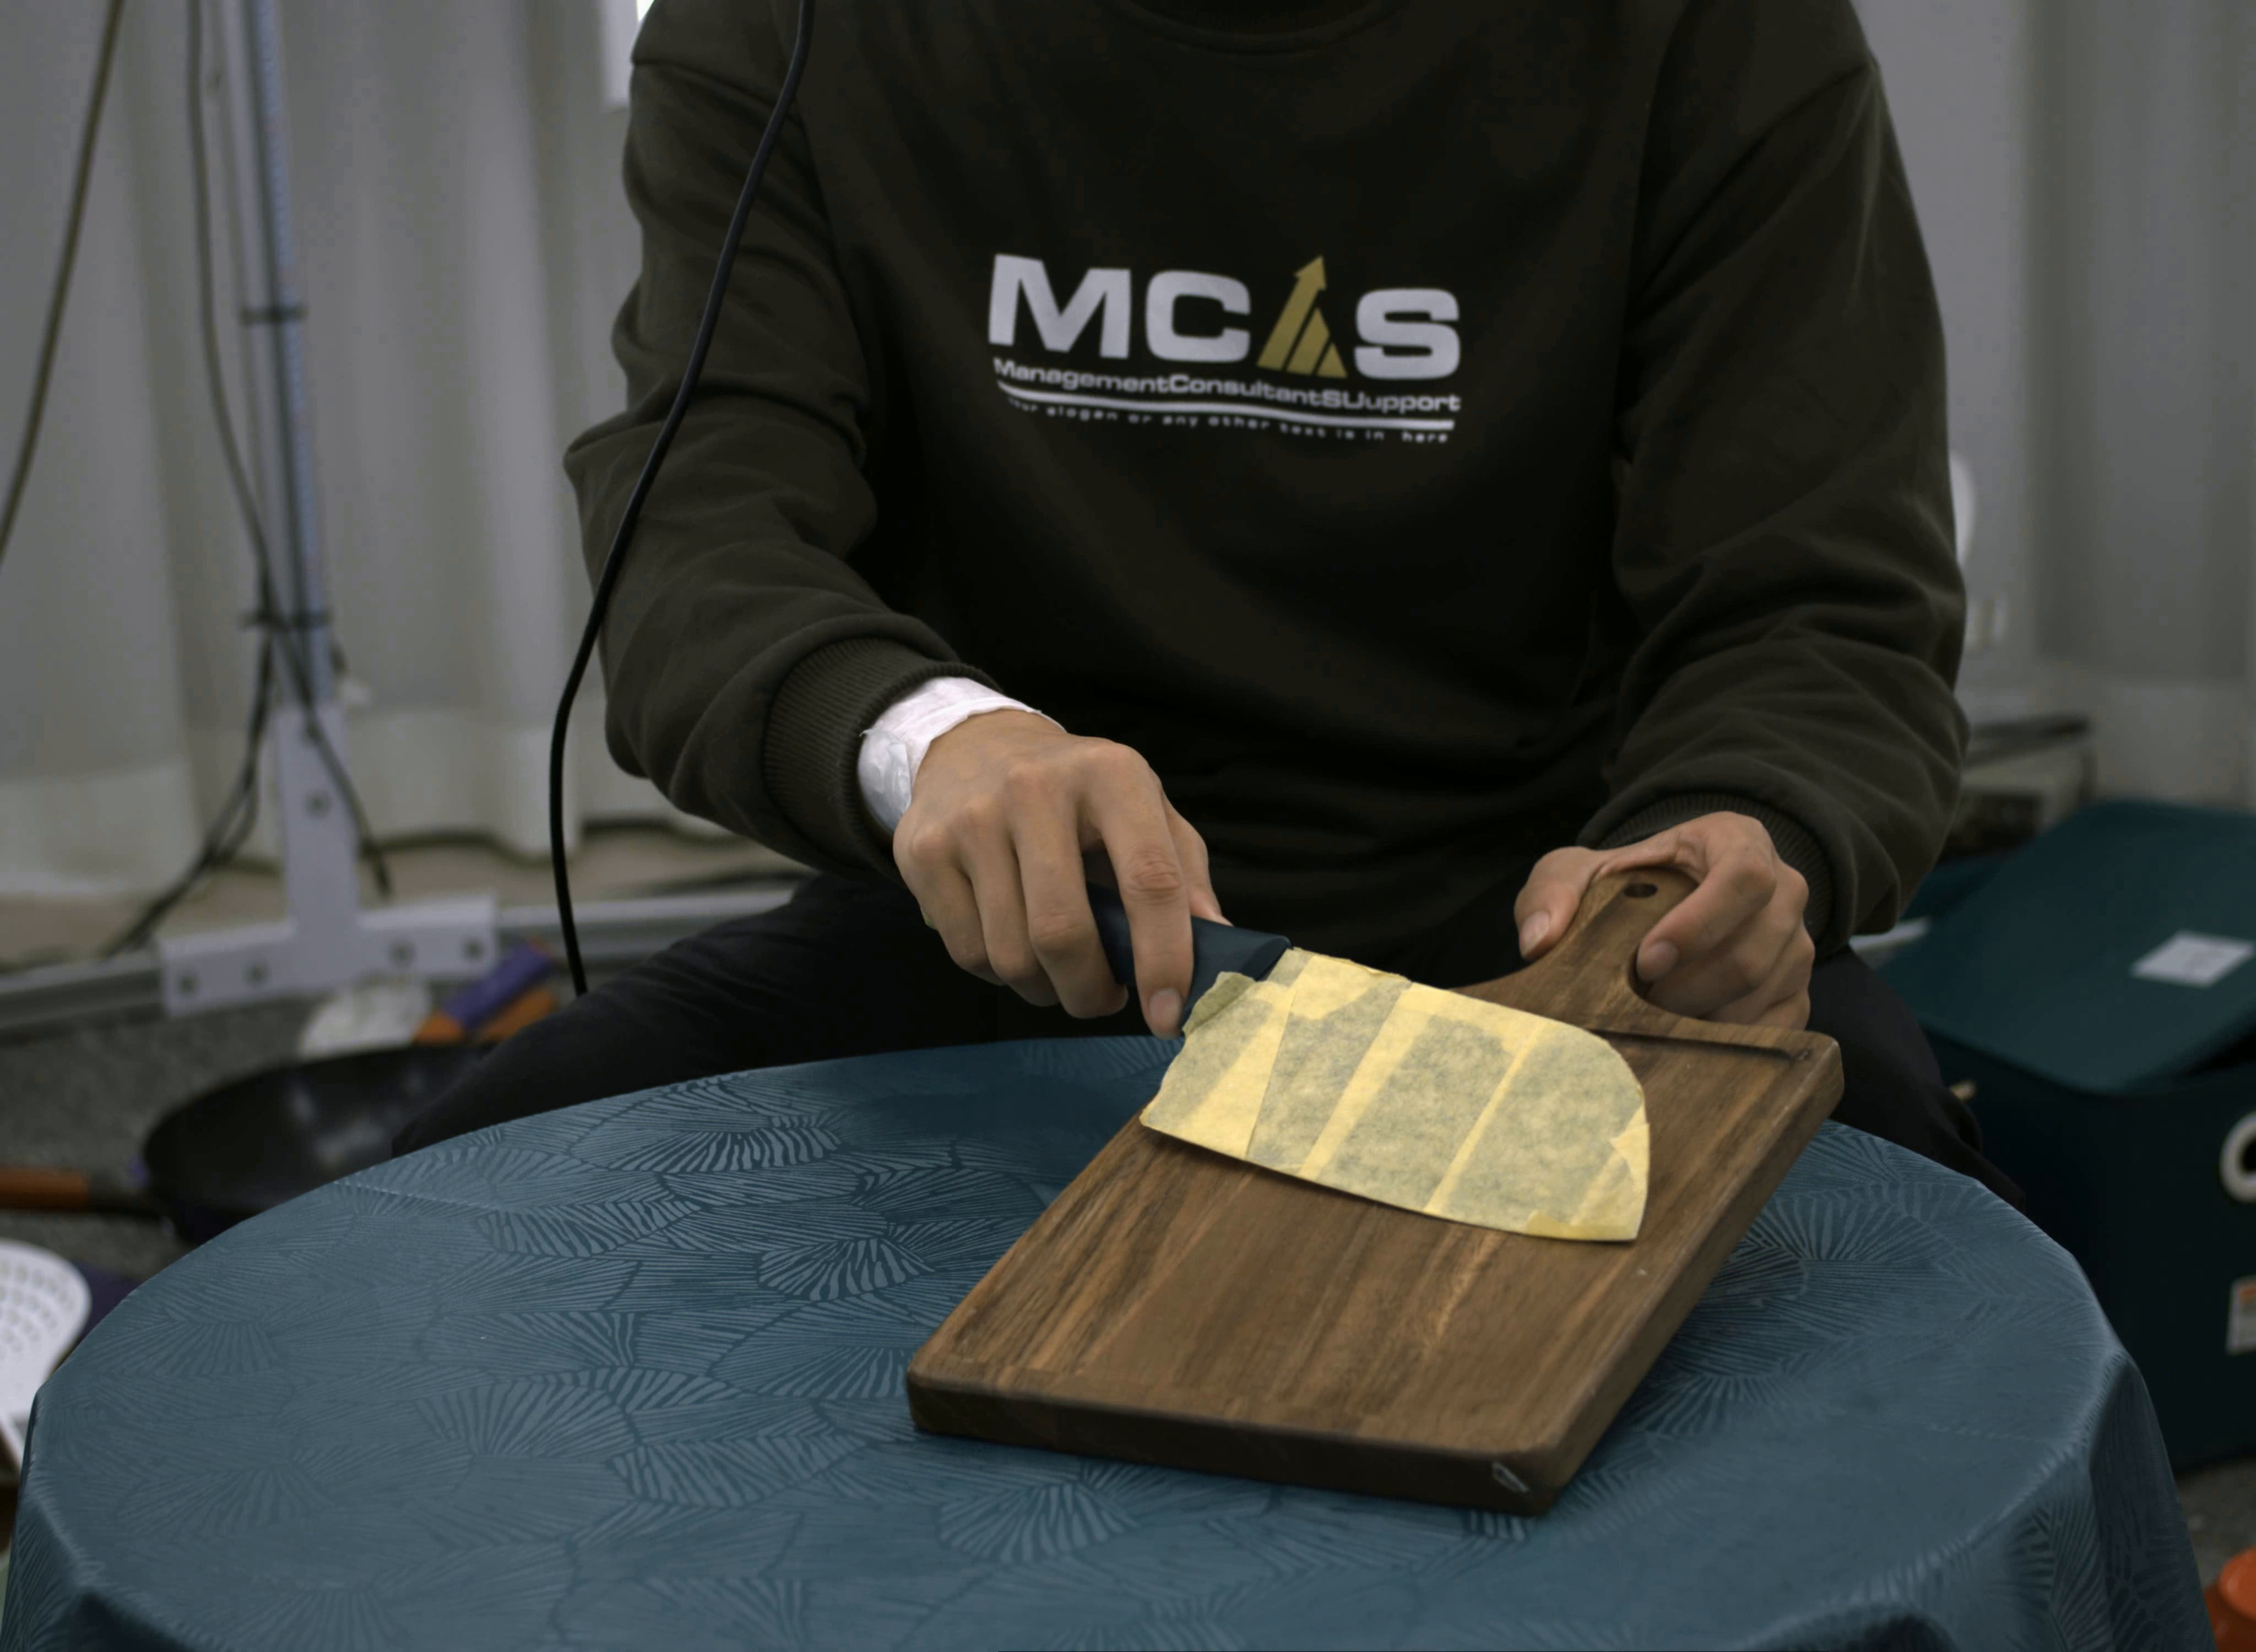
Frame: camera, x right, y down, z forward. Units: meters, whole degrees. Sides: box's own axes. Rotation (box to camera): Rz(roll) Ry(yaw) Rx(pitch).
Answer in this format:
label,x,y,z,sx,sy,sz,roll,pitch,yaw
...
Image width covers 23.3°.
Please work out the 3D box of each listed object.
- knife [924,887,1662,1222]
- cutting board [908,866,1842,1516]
label,x,y,z,sx,sy,sz,roll,pitch,yaw
knife,0.041,0.066,1.635,0.291,0.027,0.081,16,59,39
cutting board,0.096,0.095,1.615,0.201,0.023,0.354,5,26,26
